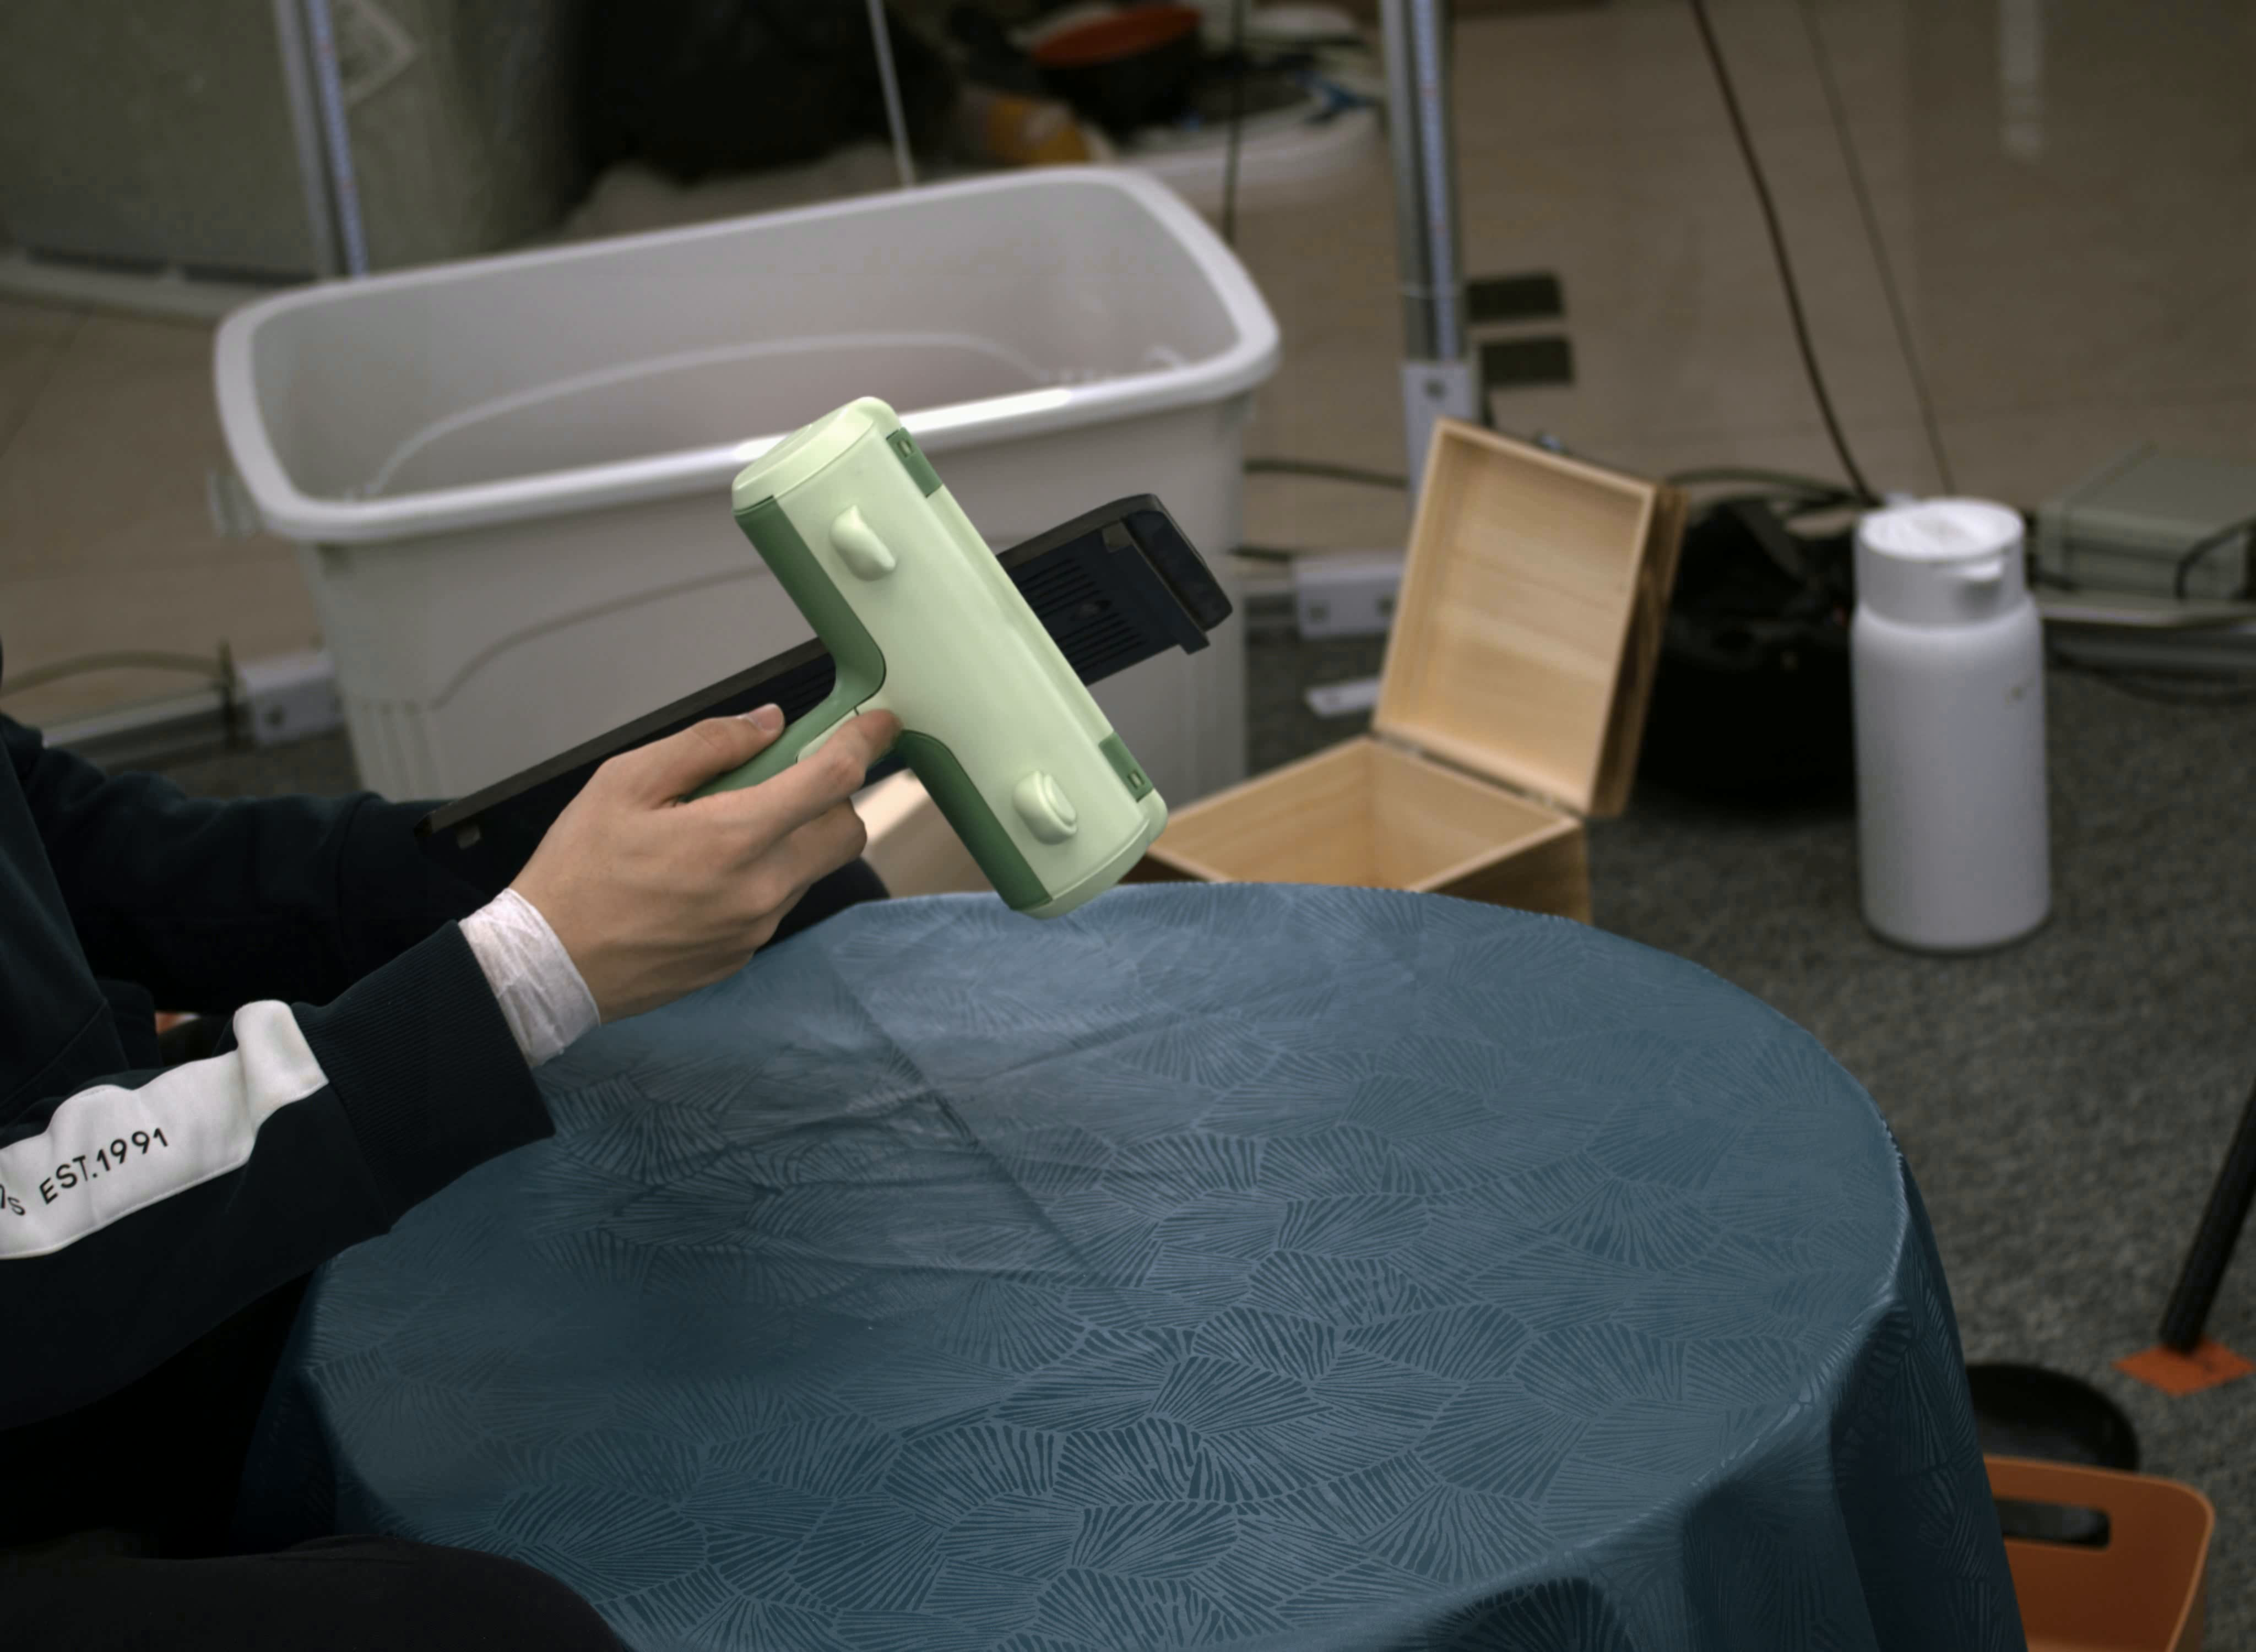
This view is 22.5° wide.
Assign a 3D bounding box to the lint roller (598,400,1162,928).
[{"bbox_3d":[-0.106,-0.023,2.001,0.182,0.200,0.082,-39,15,-17],"label":"lint roller"}]

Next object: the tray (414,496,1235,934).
[{"bbox_3d":[-0.110,-0.037,2.149,0.306,0.018,0.171,-25,-16,6],"label":"tray"}]
